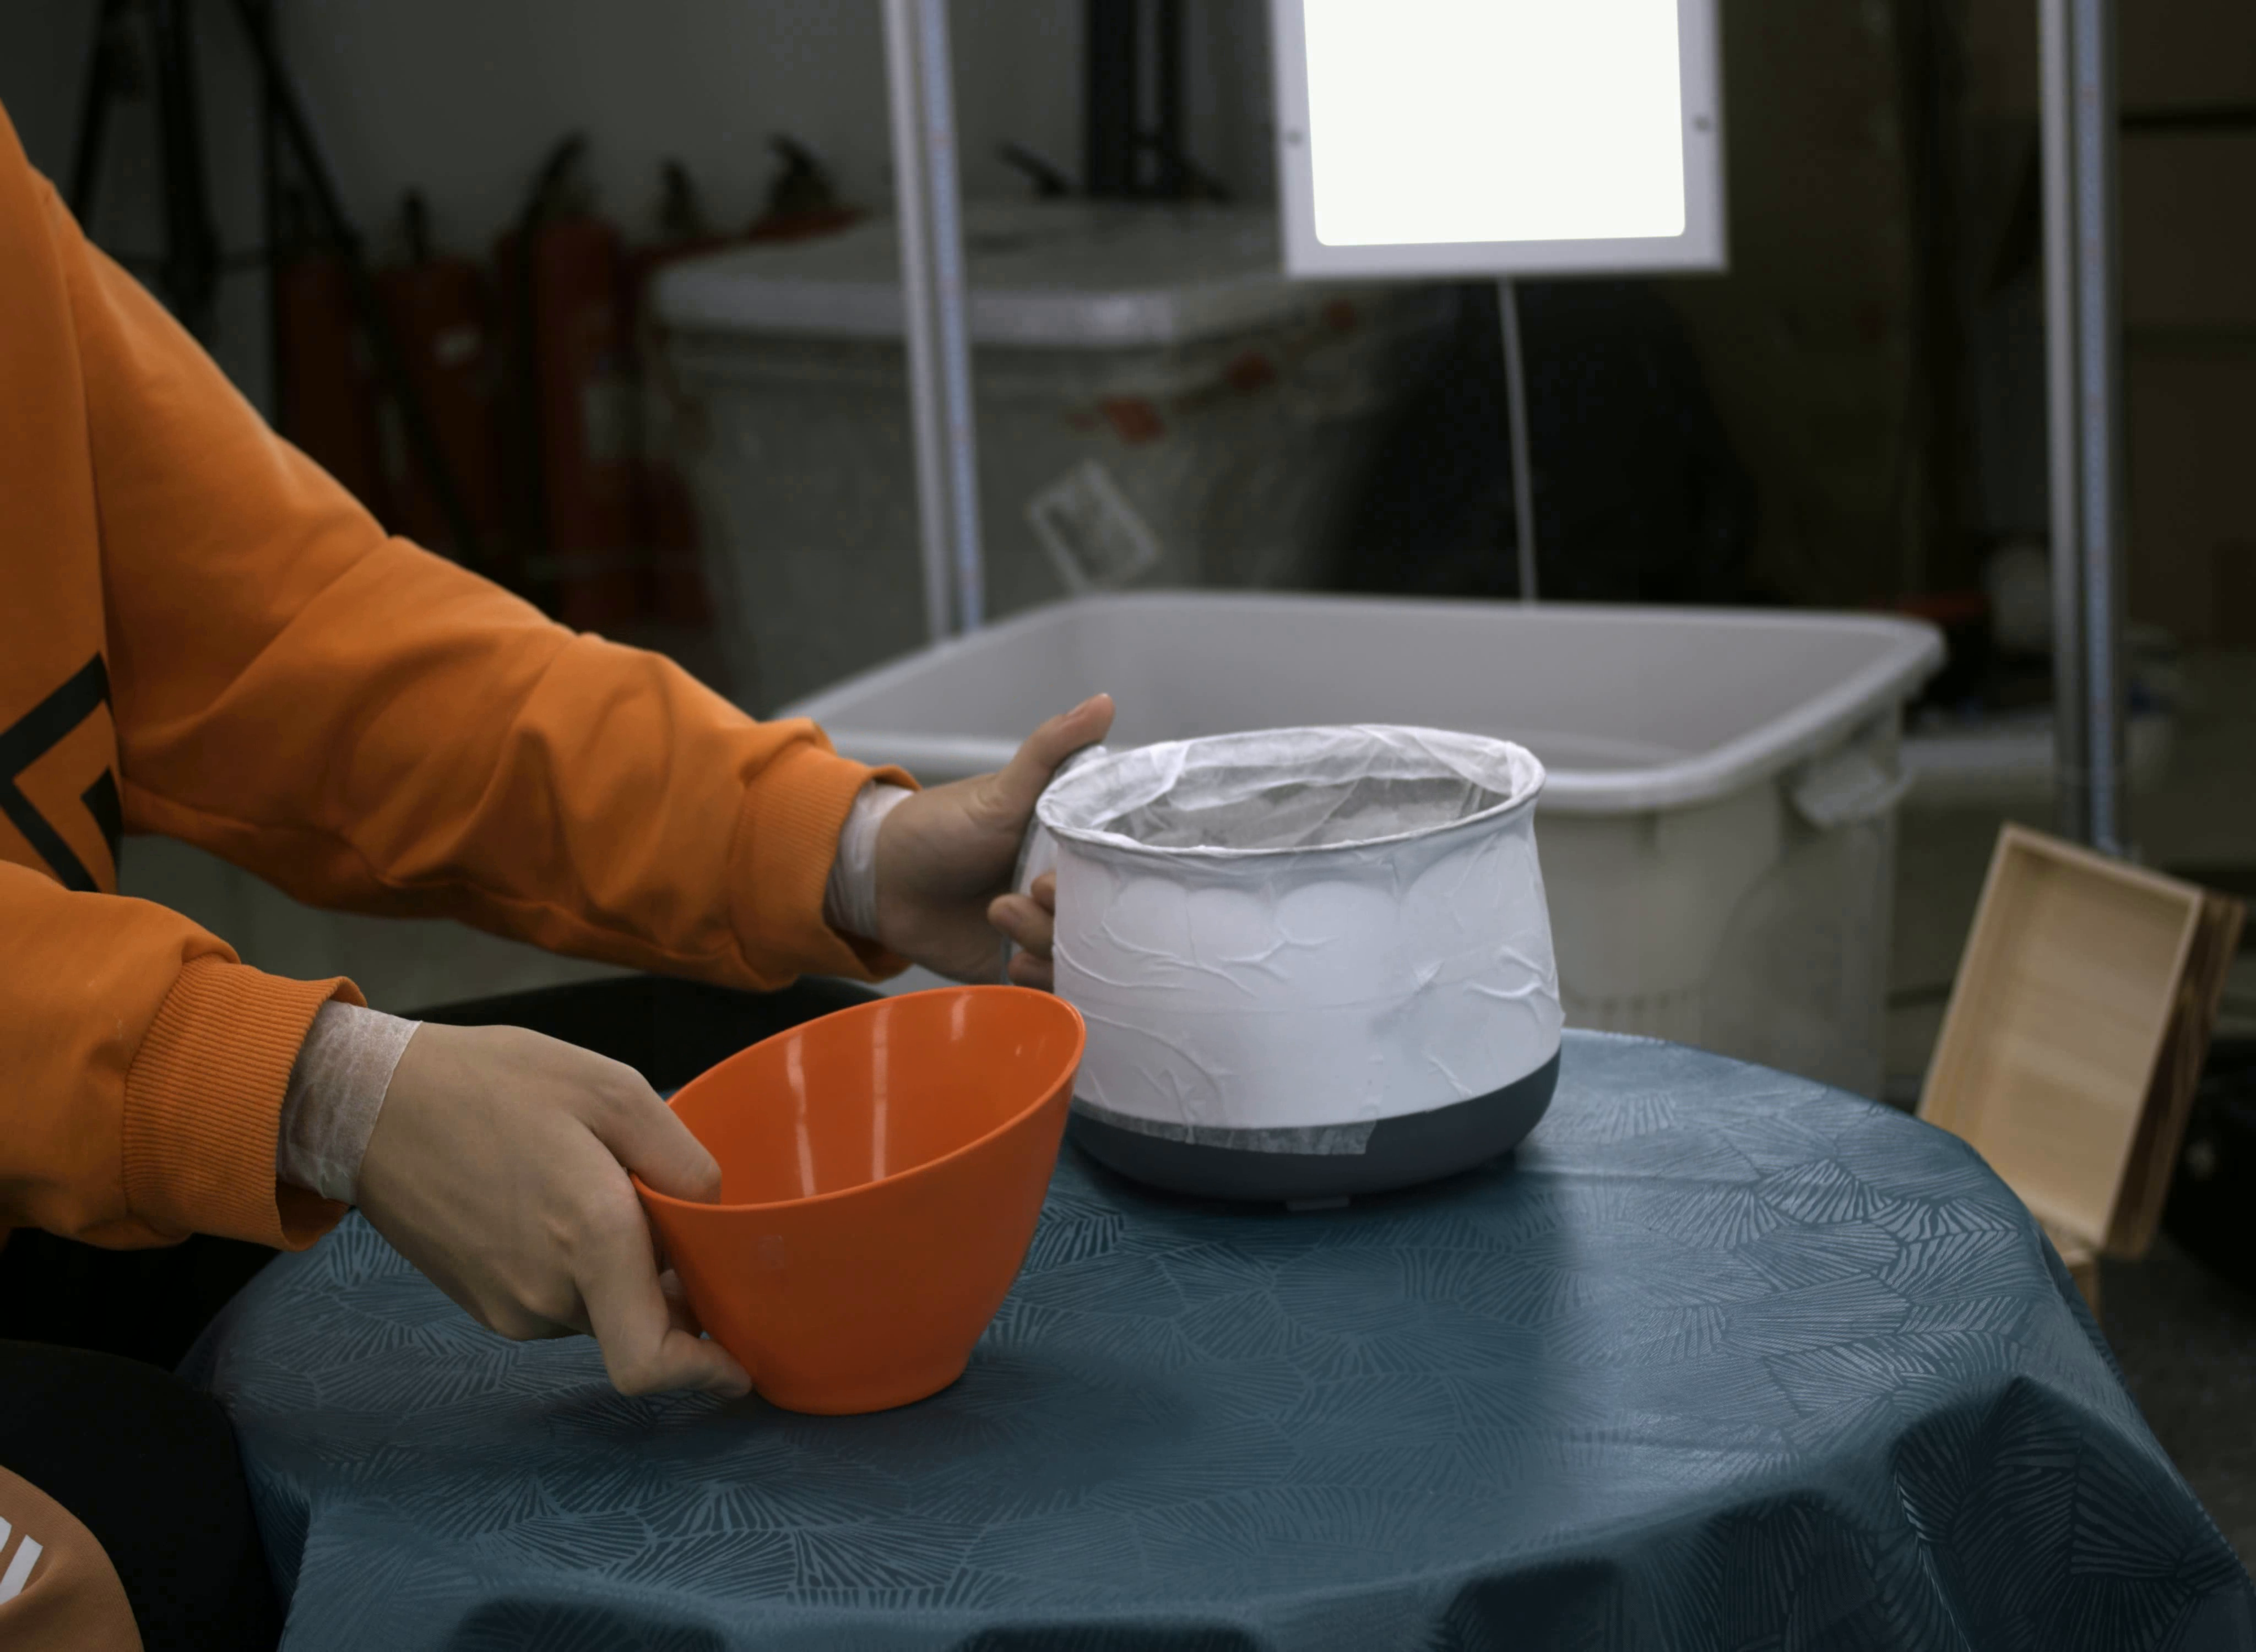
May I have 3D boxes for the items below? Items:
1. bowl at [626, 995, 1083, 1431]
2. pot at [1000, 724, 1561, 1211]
[{"bbox_3d":[-0.078,0.125,1.721,0.148,0.105,0.148,-9,17,1],"label":"bowl"},{"bbox_3d":[0.041,0.044,1.928,0.174,0.137,0.239,-17,18,-42],"label":"pot"}]
